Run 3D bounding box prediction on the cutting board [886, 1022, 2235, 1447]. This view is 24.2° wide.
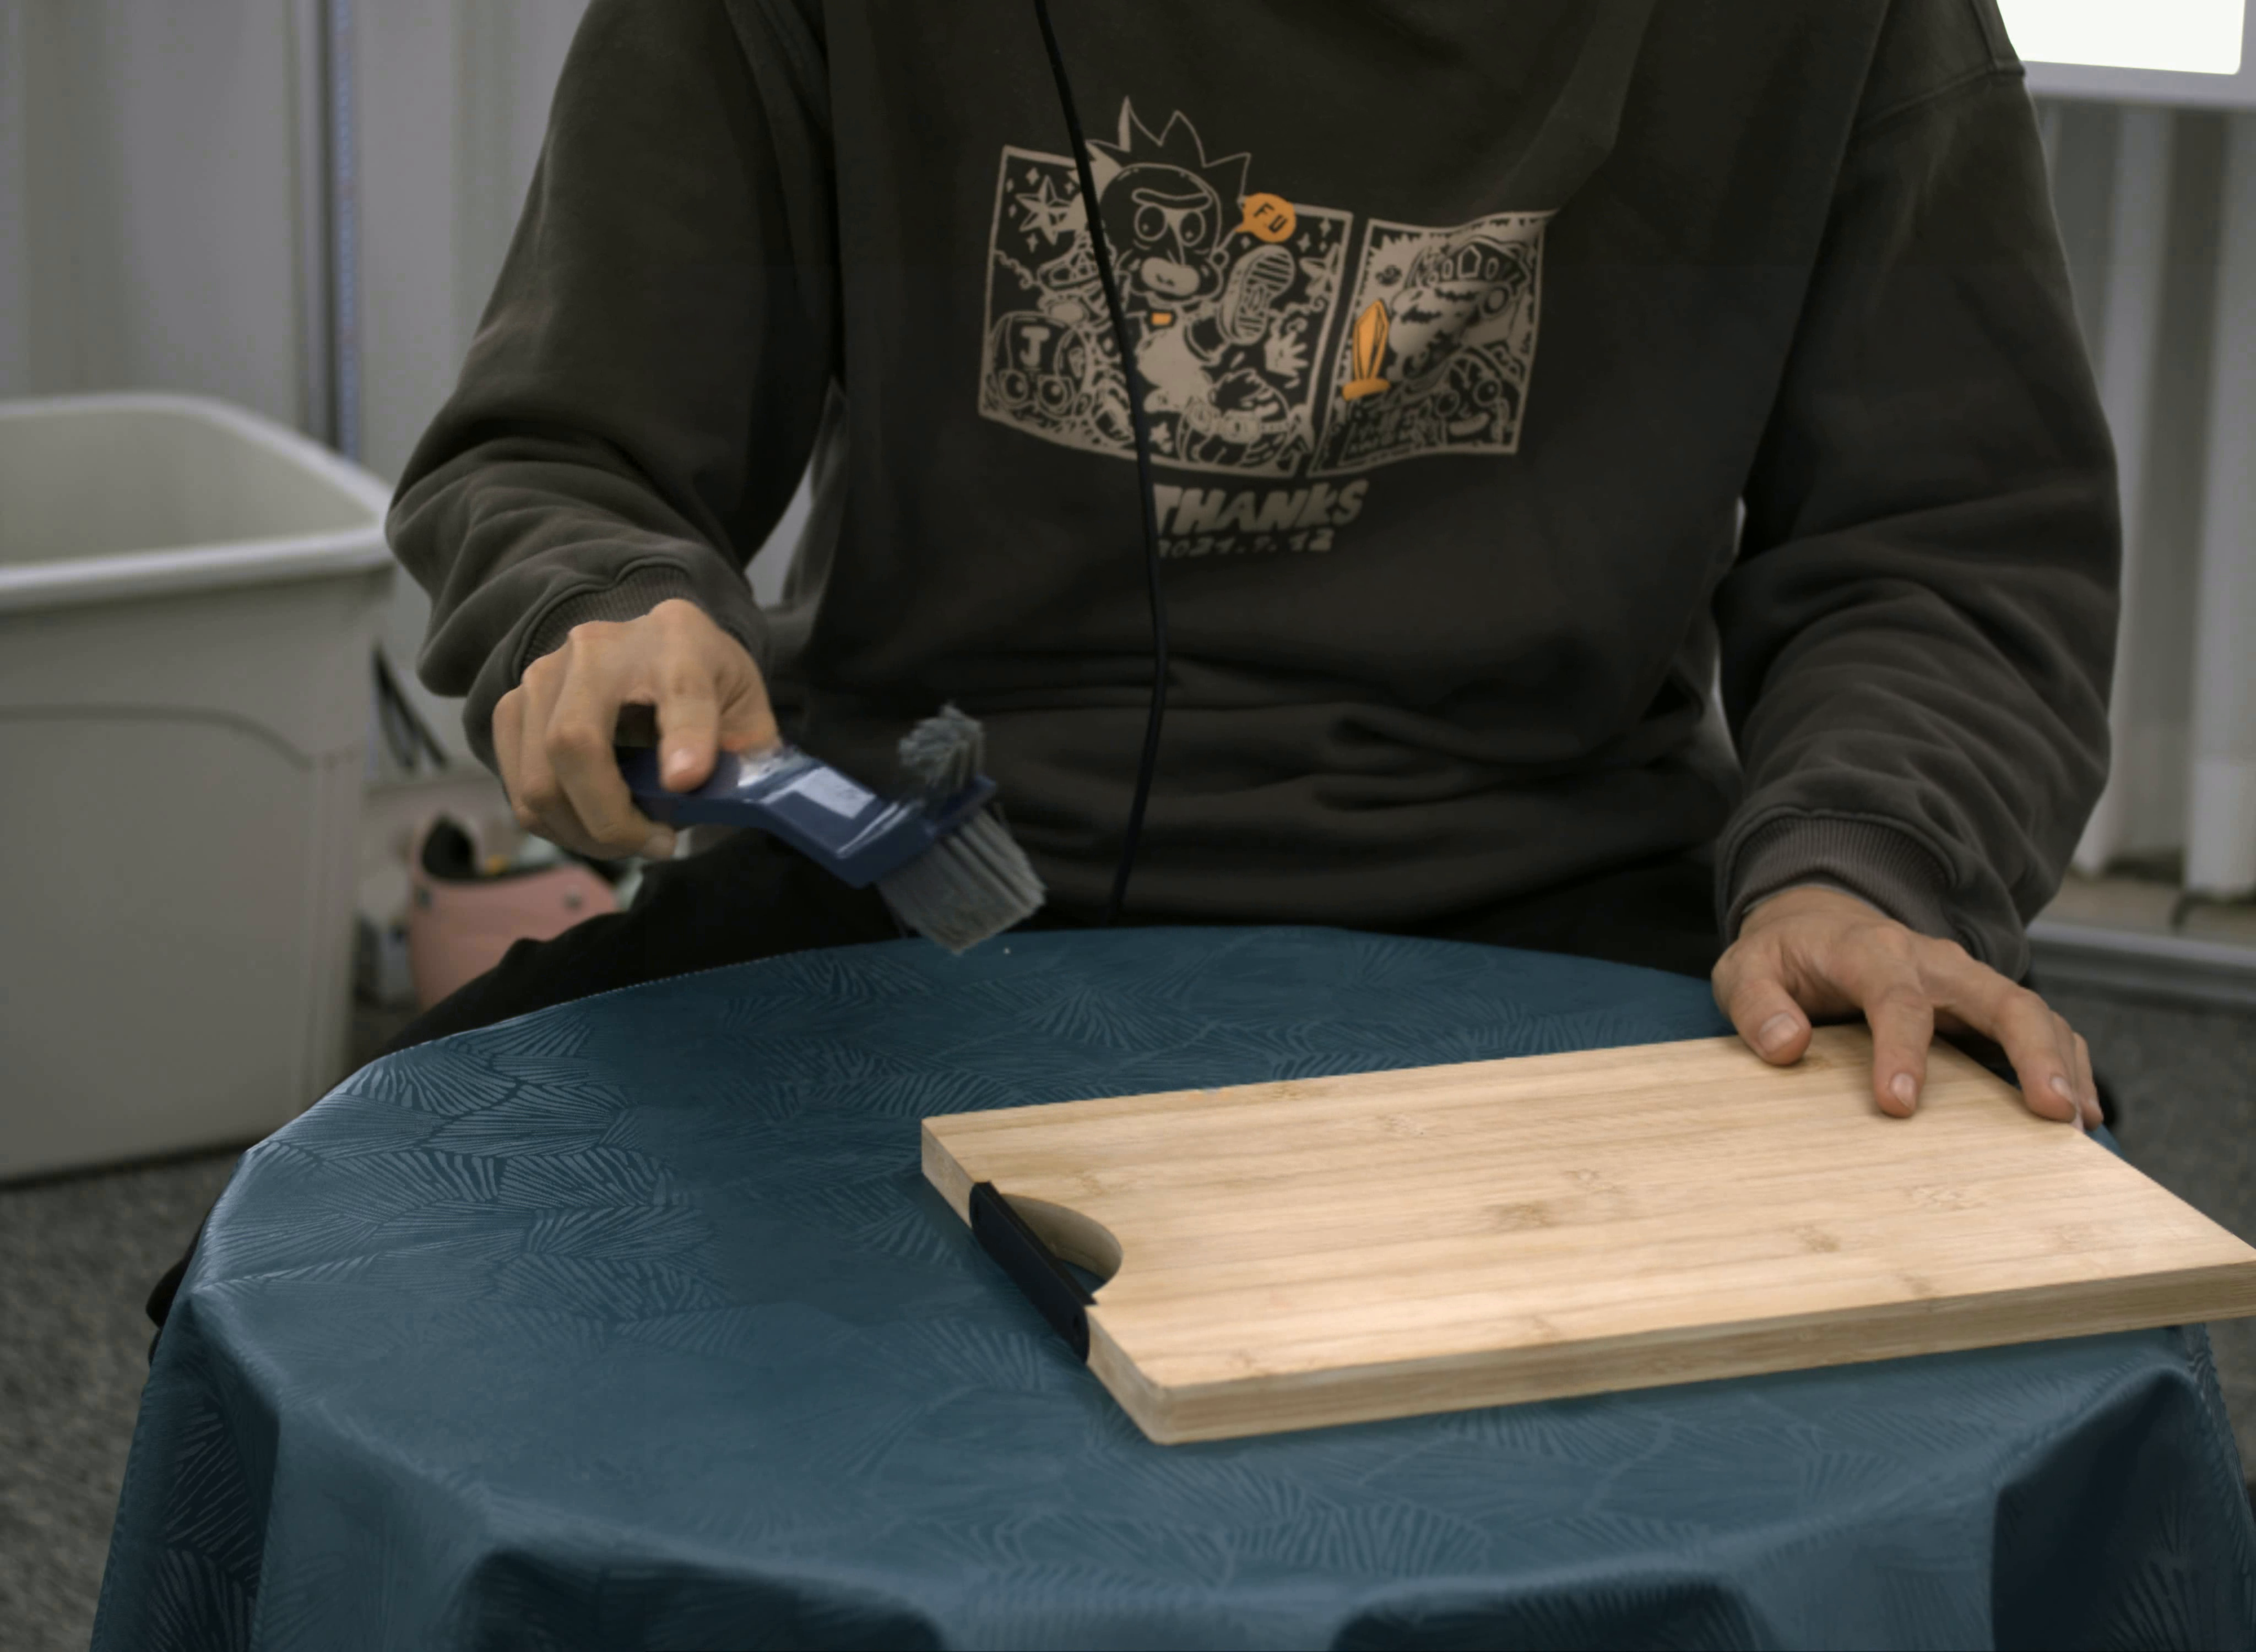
[{"bbox_3d":[0.126,0.118,1.586,0.349,0.024,0.248,-5,16,-19],"label":"cutting board"}]

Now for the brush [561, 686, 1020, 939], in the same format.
[{"bbox_3d":[-0.110,-0.016,1.572,0.033,0.097,0.270,-43,29,-22],"label":"brush"}]
